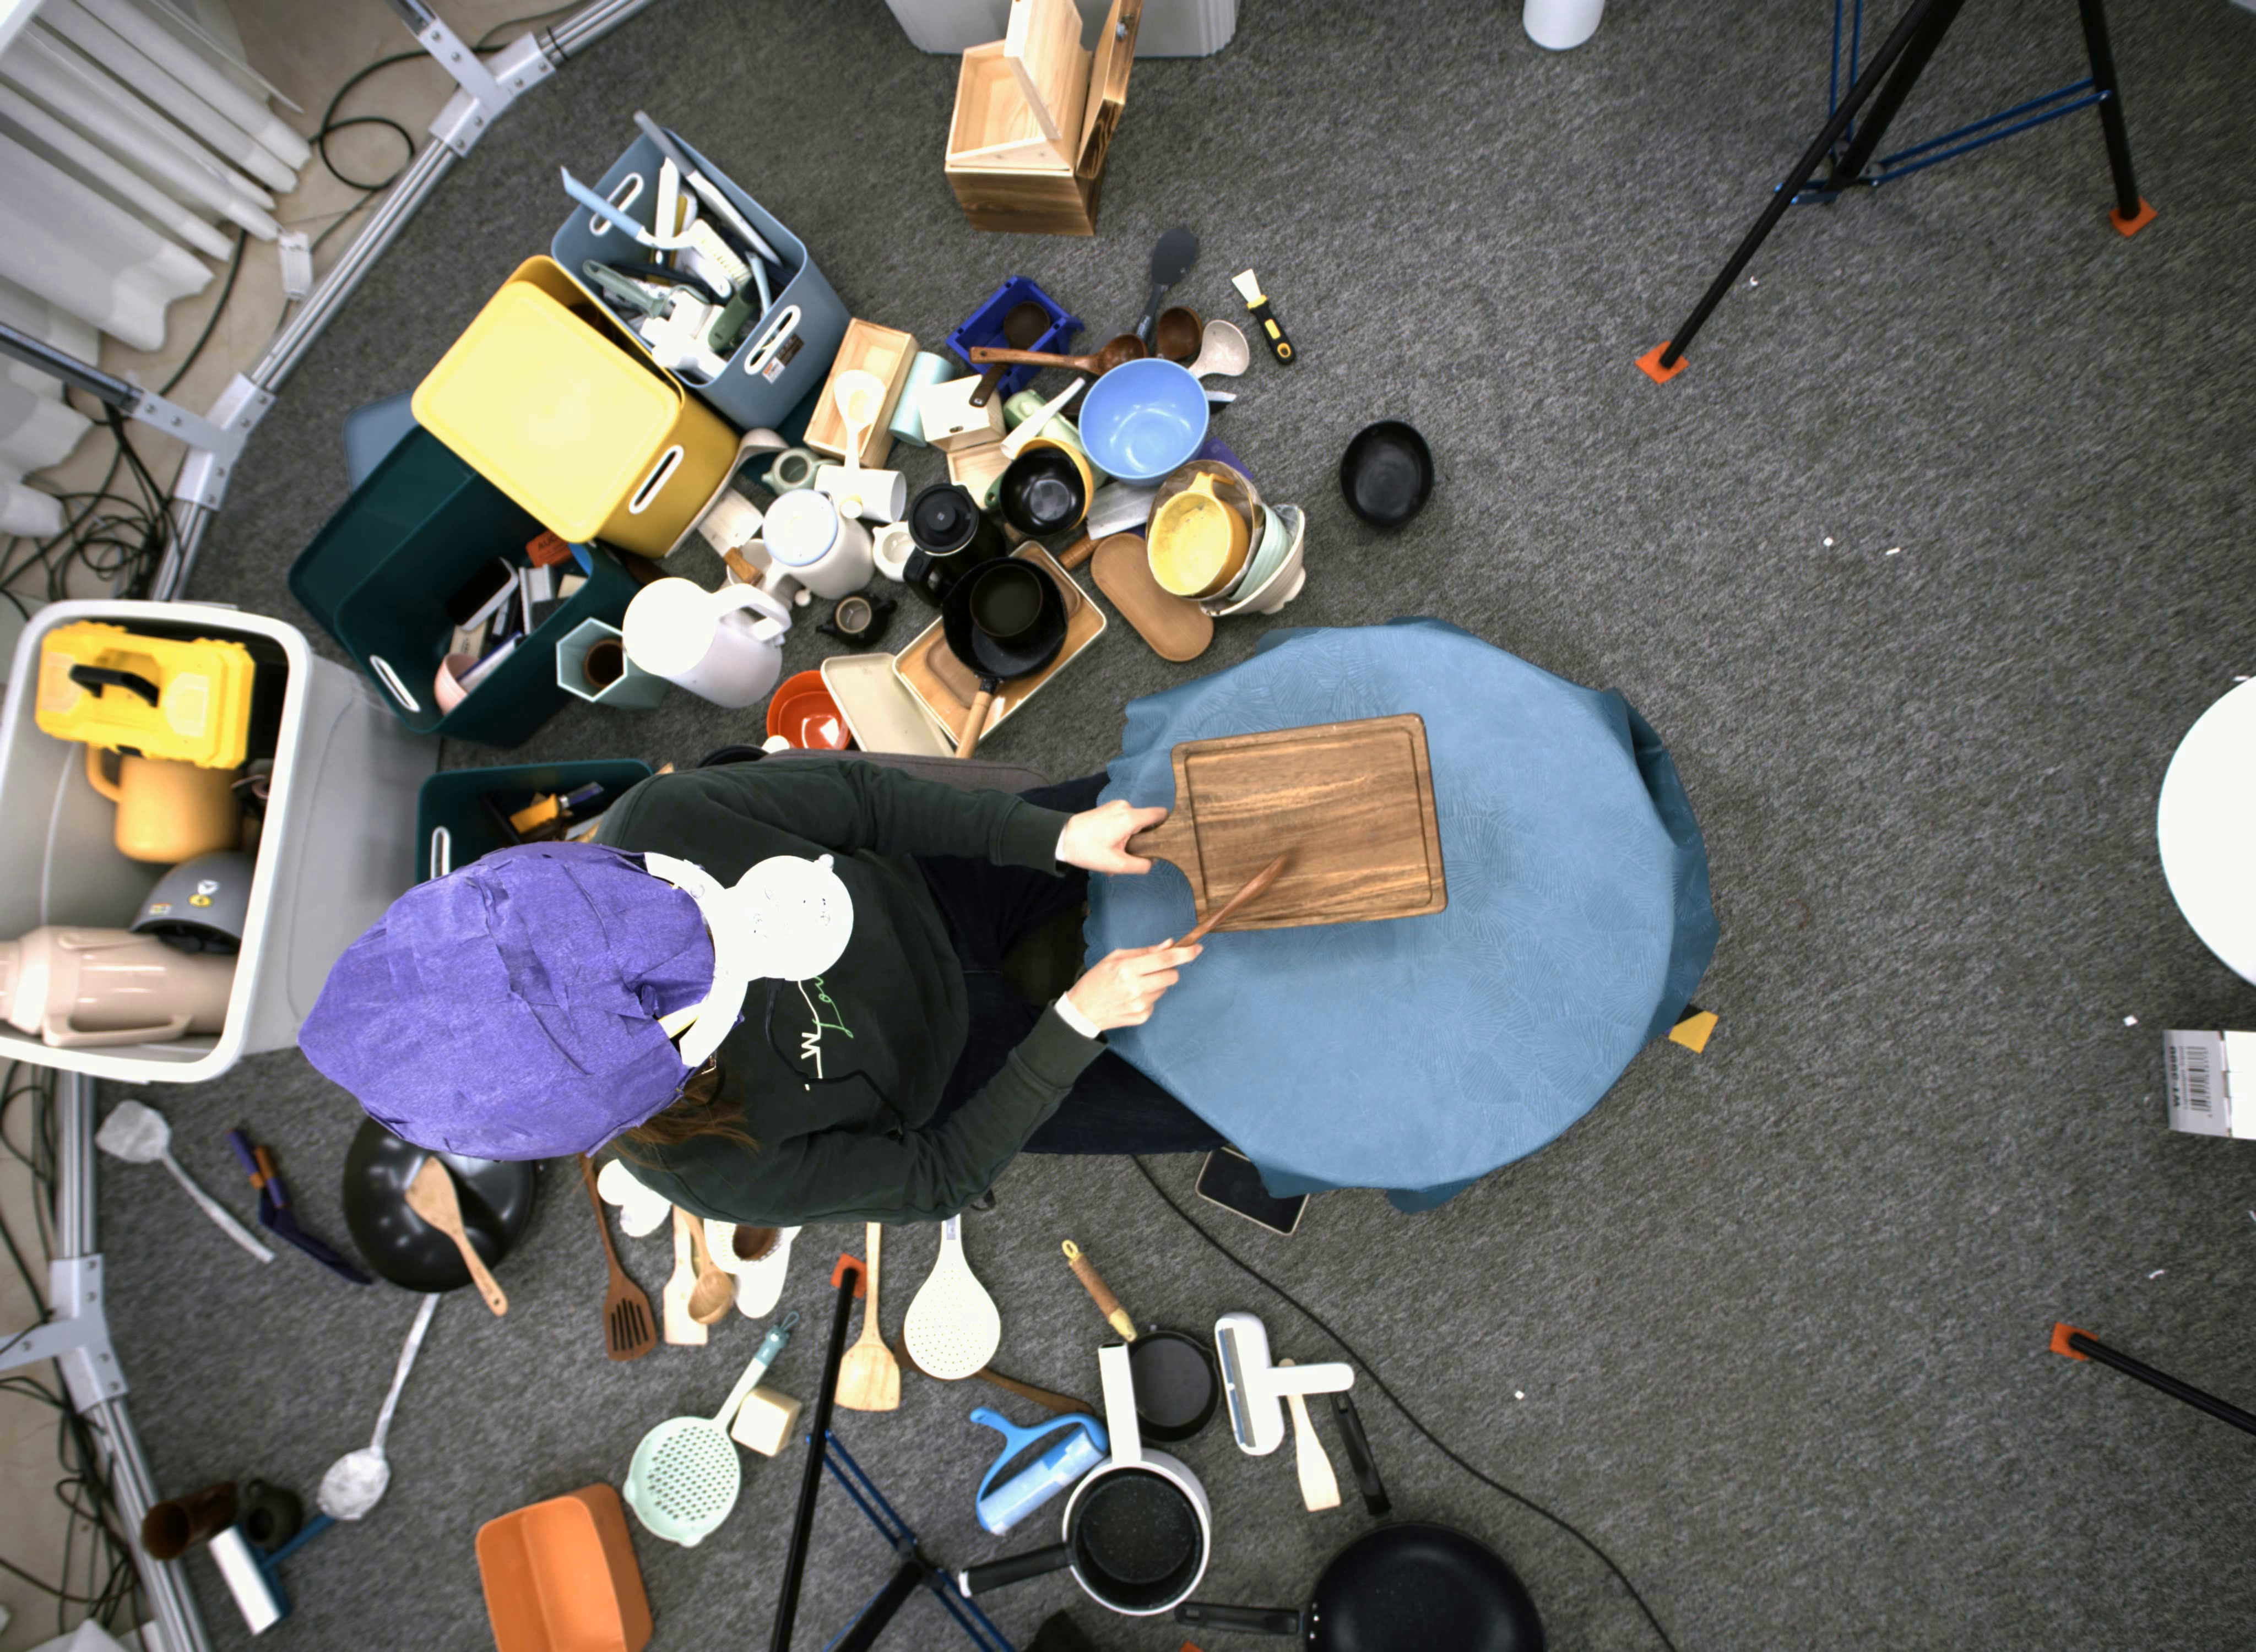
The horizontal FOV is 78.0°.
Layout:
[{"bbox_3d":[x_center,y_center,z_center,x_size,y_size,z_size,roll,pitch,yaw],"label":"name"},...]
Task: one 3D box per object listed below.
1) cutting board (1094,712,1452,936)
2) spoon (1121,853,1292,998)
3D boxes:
[{"bbox_3d":[0.133,0.007,1.374,0.355,0.023,0.203,-6,103,19],"label":"cutting board"},{"bbox_3d":[0.079,0.099,1.358,0.218,0.075,0.017,-40,91,12],"label":"spoon"}]
